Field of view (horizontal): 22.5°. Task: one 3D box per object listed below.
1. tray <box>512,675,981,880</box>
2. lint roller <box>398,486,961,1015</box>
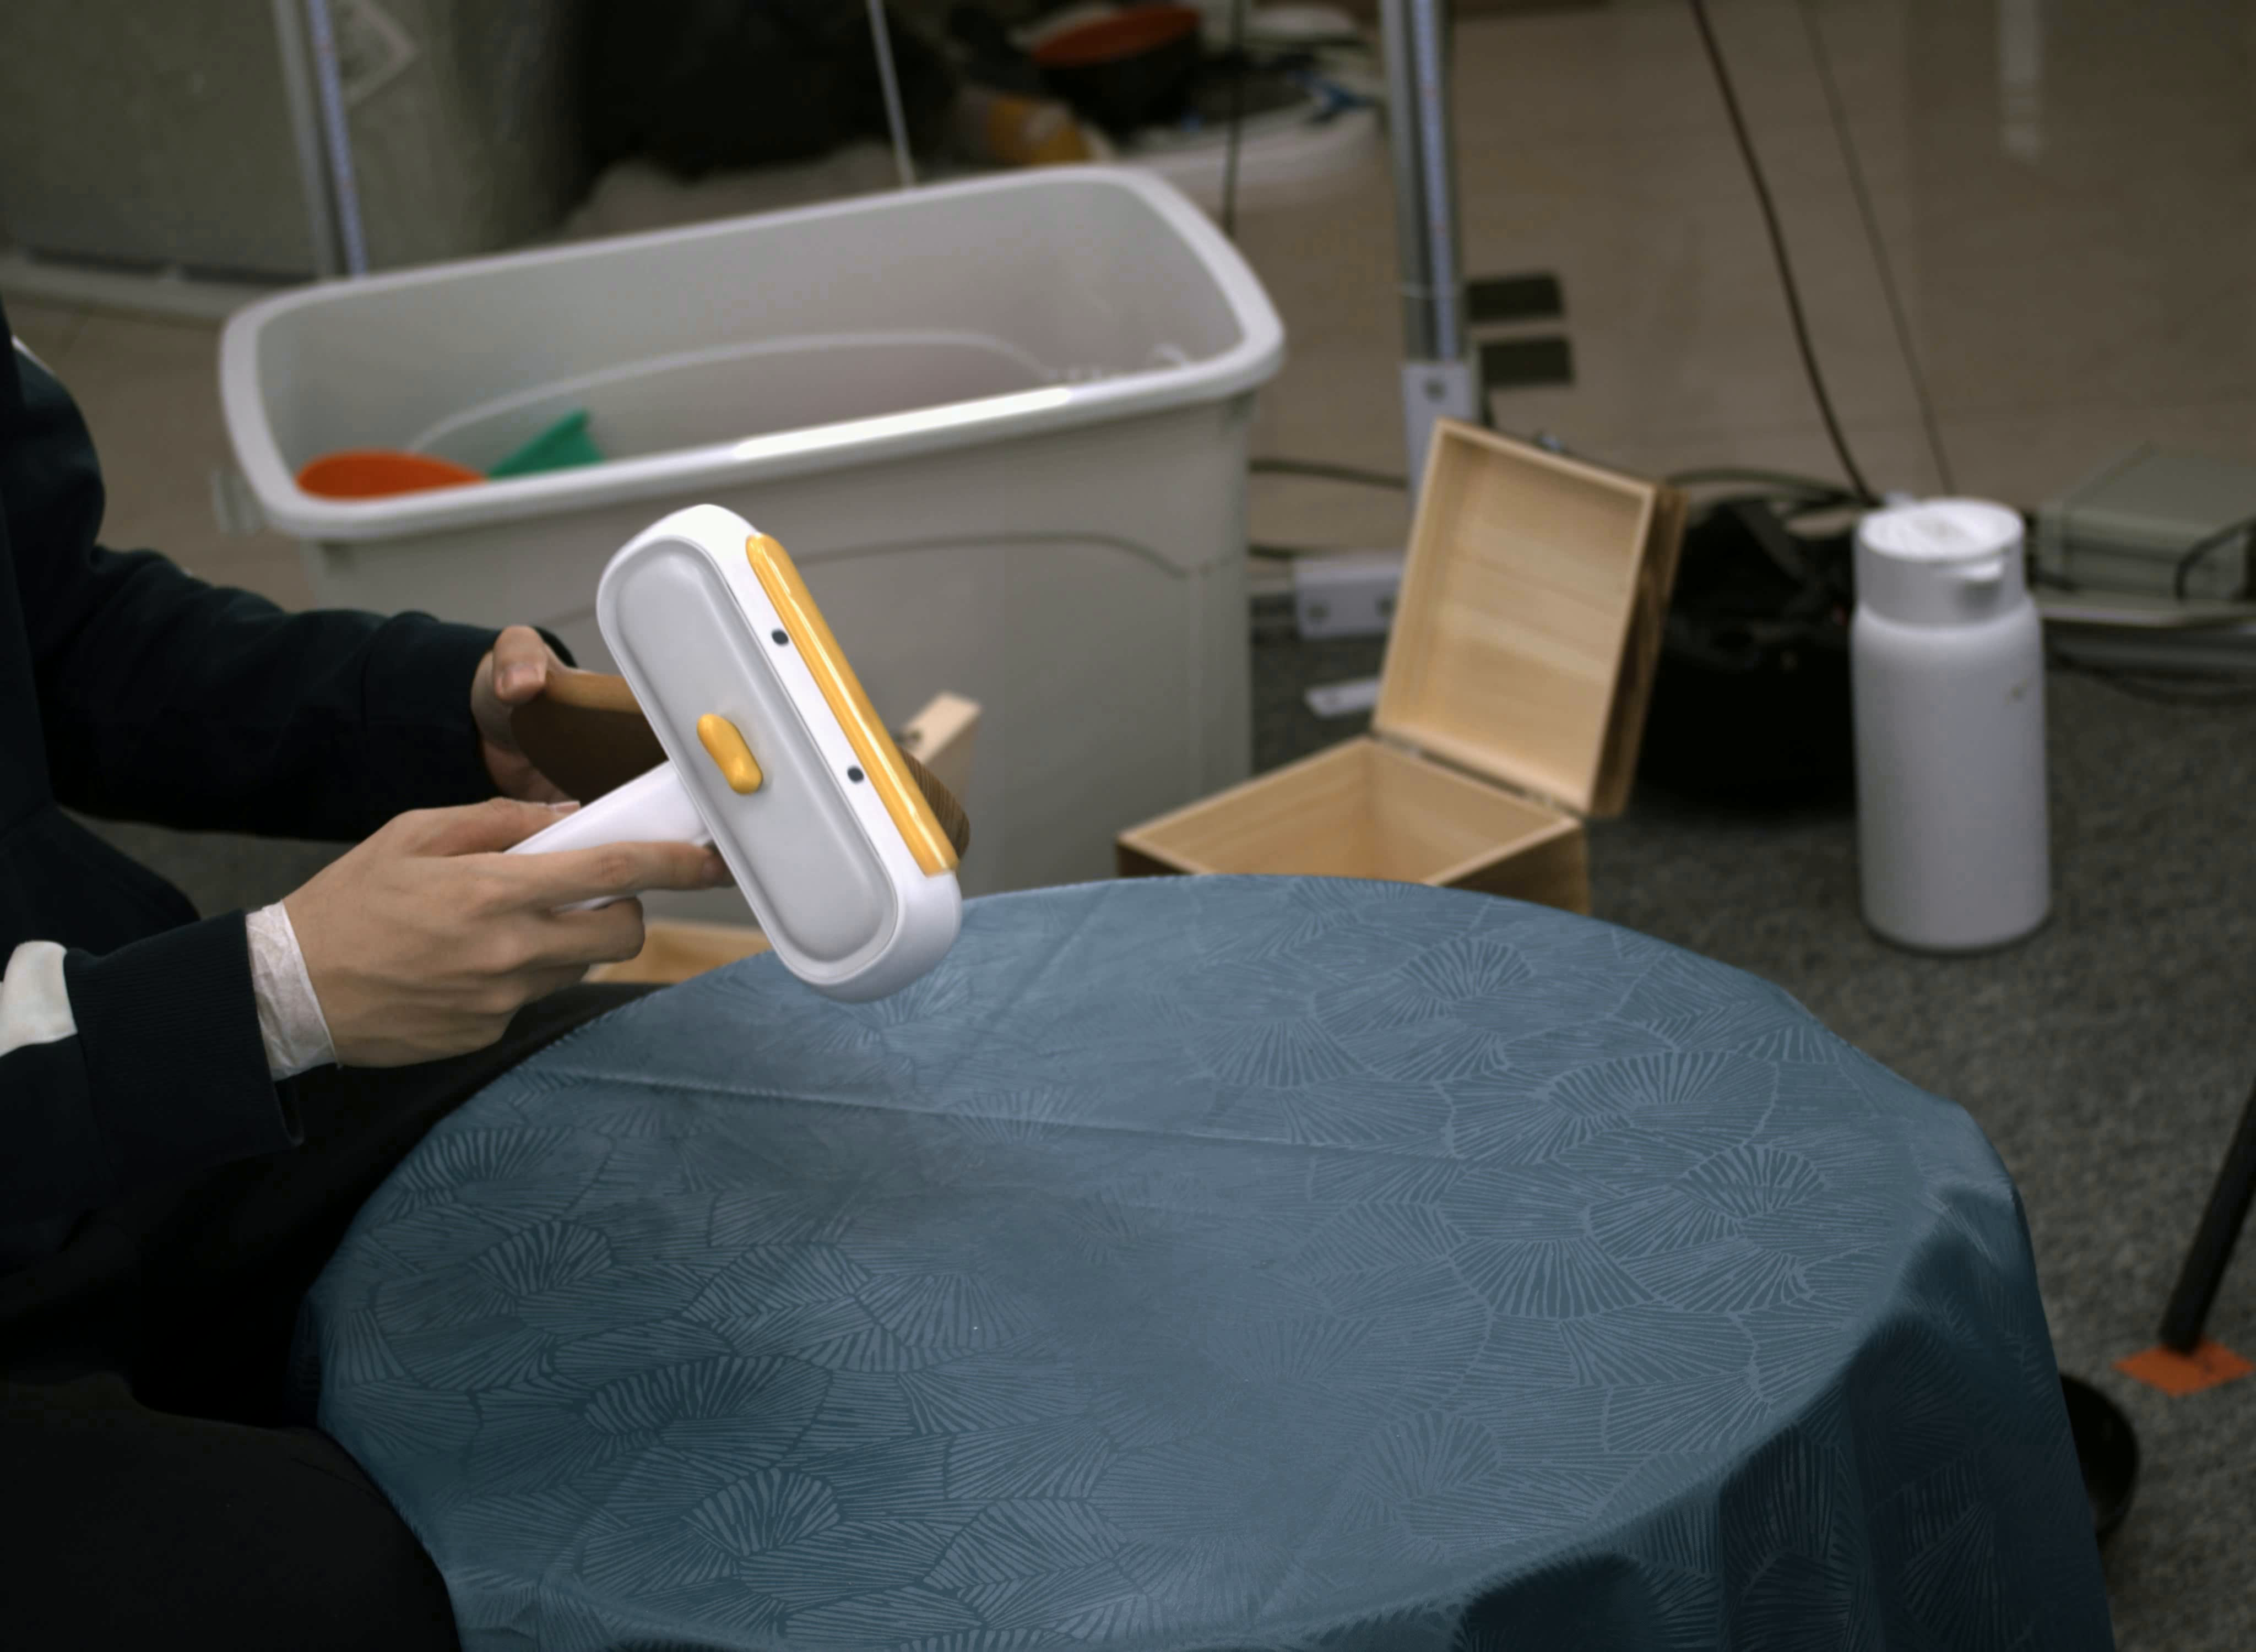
[{"bbox_3d":[-0.148,-0.017,2.153,0.230,0.103,0.020,8,61,45],"label":"tray"},{"bbox_3d":[-0.178,0.000,2.051,0.193,0.192,0.074,-36,-4,14],"label":"lint roller"}]
